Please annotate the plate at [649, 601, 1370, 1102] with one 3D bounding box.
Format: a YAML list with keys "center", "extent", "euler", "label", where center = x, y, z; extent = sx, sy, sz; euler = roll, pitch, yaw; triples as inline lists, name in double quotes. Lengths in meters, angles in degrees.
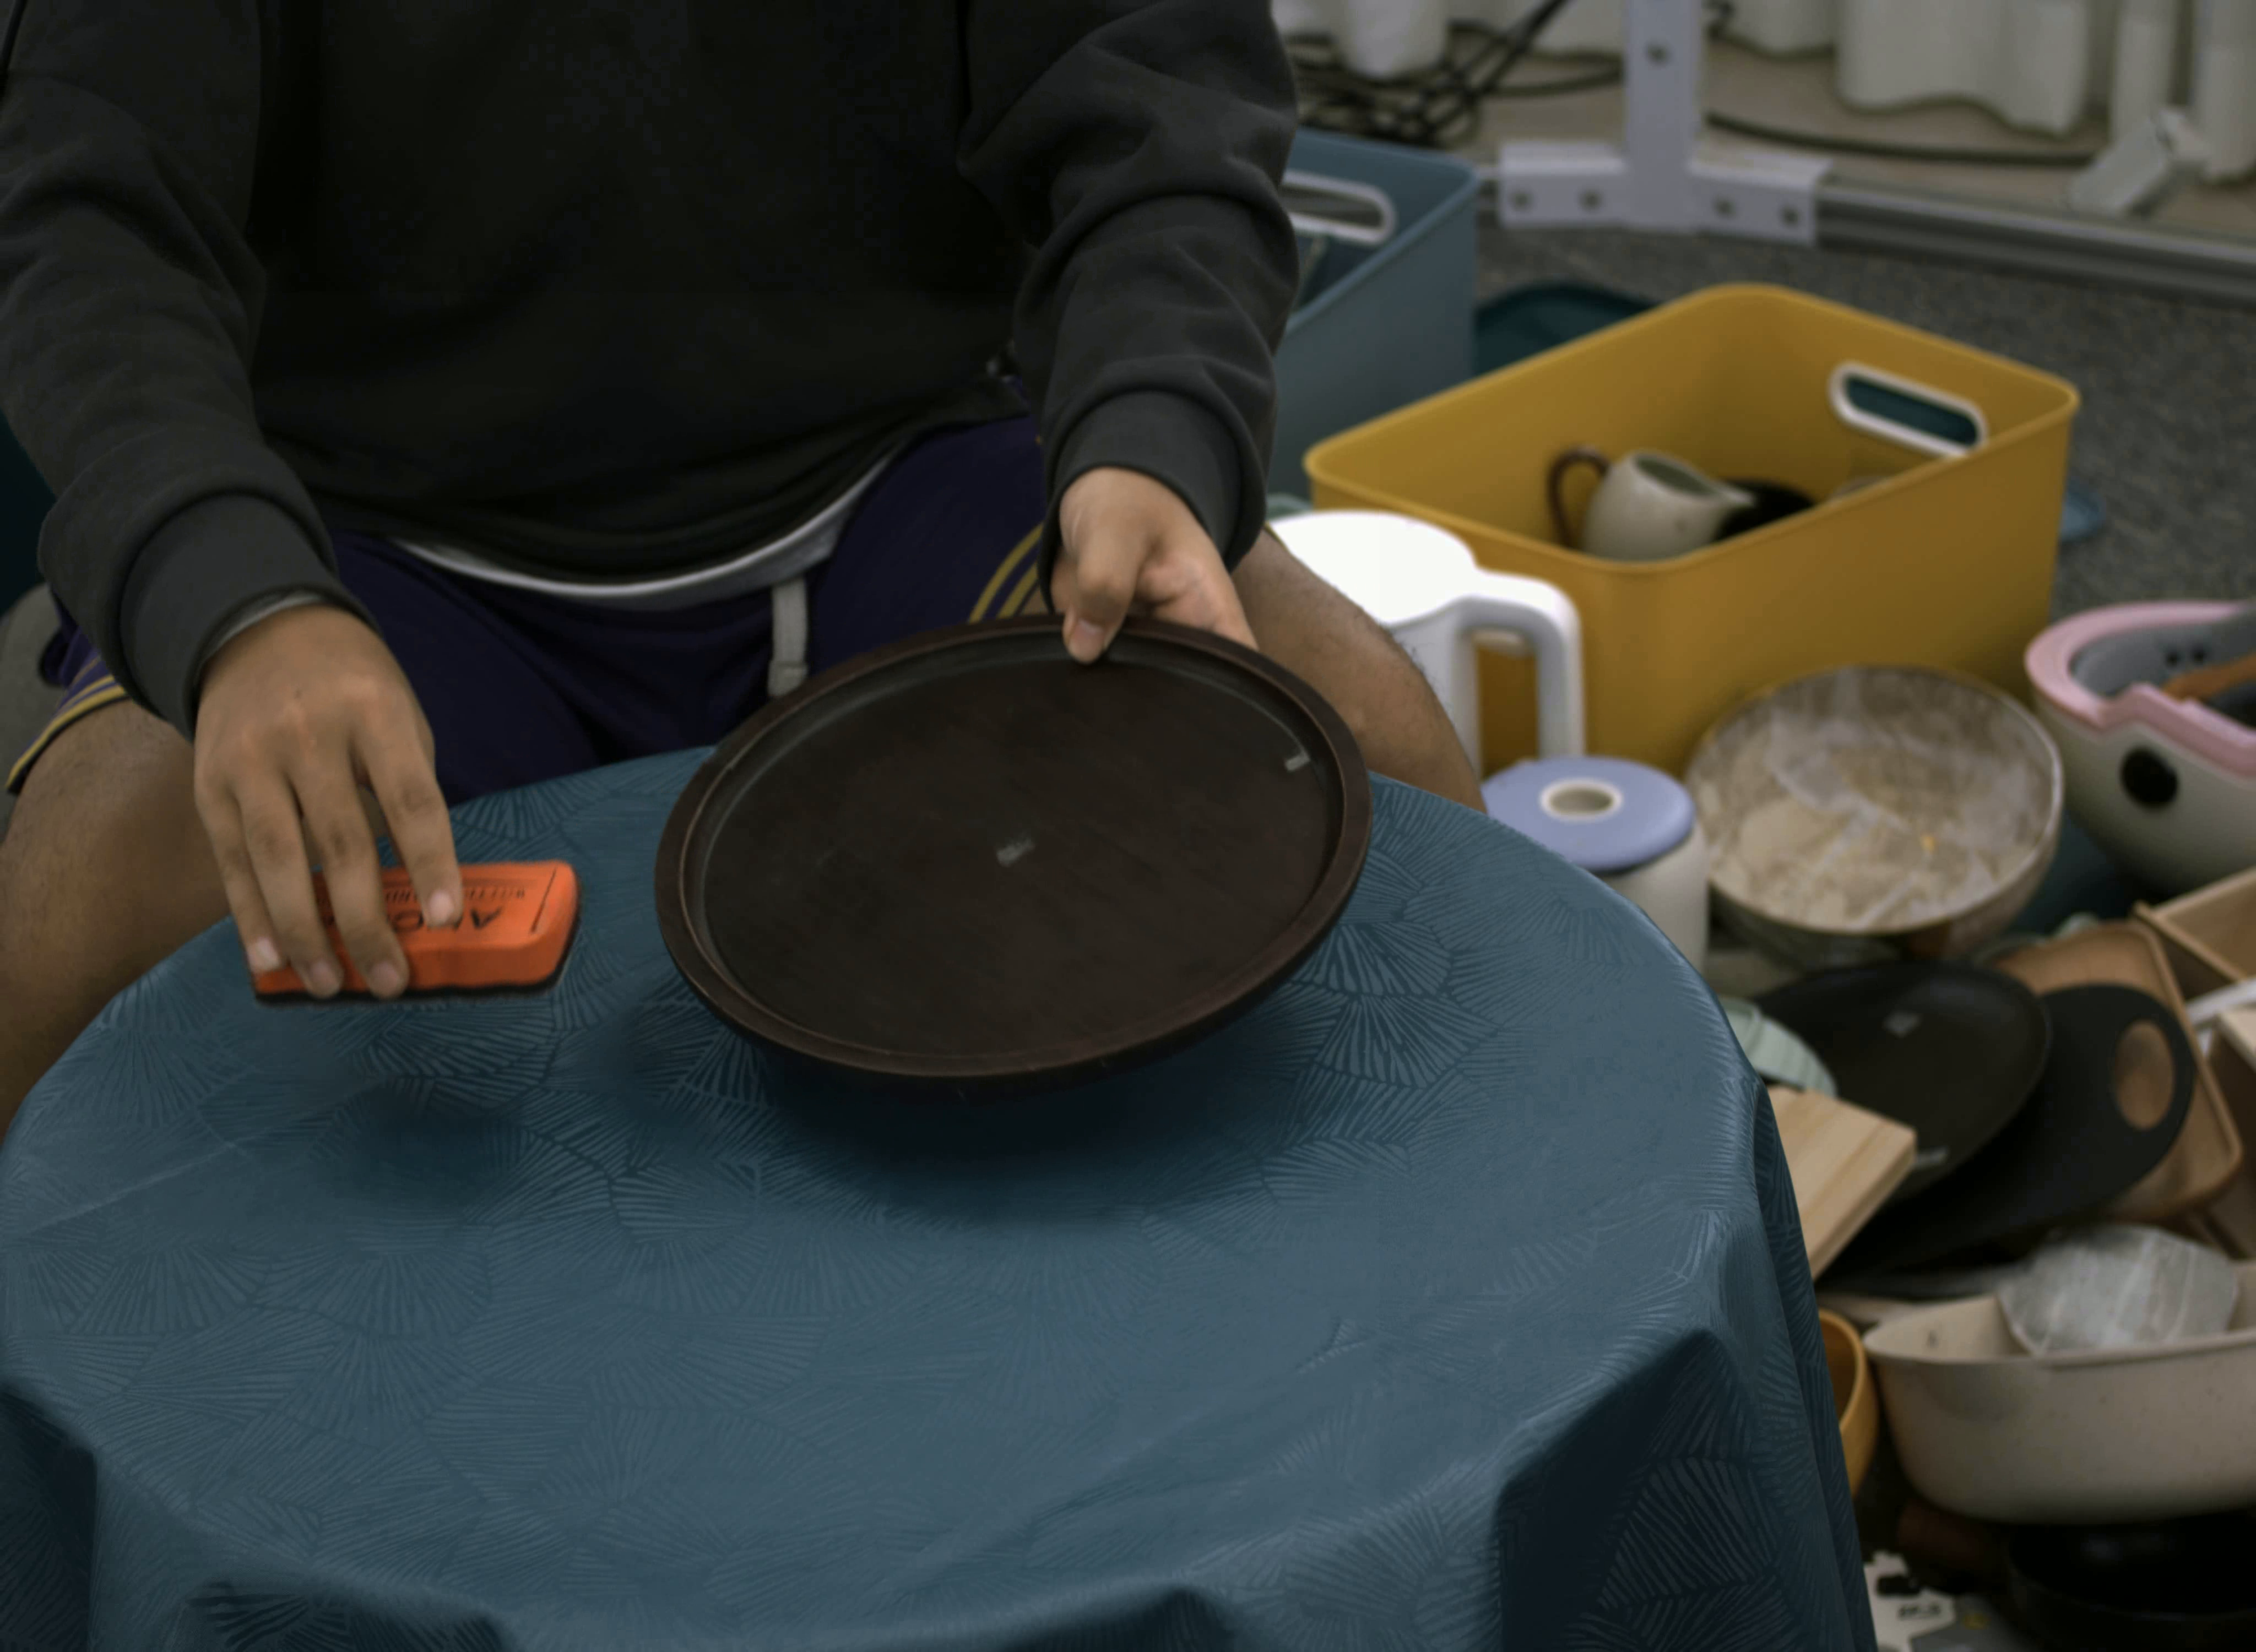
- center: [-0.040, 0.007, 1.952]
  extent: [0.253, 0.028, 0.259]
  euler: [-7, 38, 6]
  label: "plate"

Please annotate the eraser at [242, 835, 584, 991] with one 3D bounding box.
- center: [-0.241, 0.030, 1.902]
  extent: [0.107, 0.022, 0.060]
  euler: [-3, 31, 10]
  label: "eraser"
